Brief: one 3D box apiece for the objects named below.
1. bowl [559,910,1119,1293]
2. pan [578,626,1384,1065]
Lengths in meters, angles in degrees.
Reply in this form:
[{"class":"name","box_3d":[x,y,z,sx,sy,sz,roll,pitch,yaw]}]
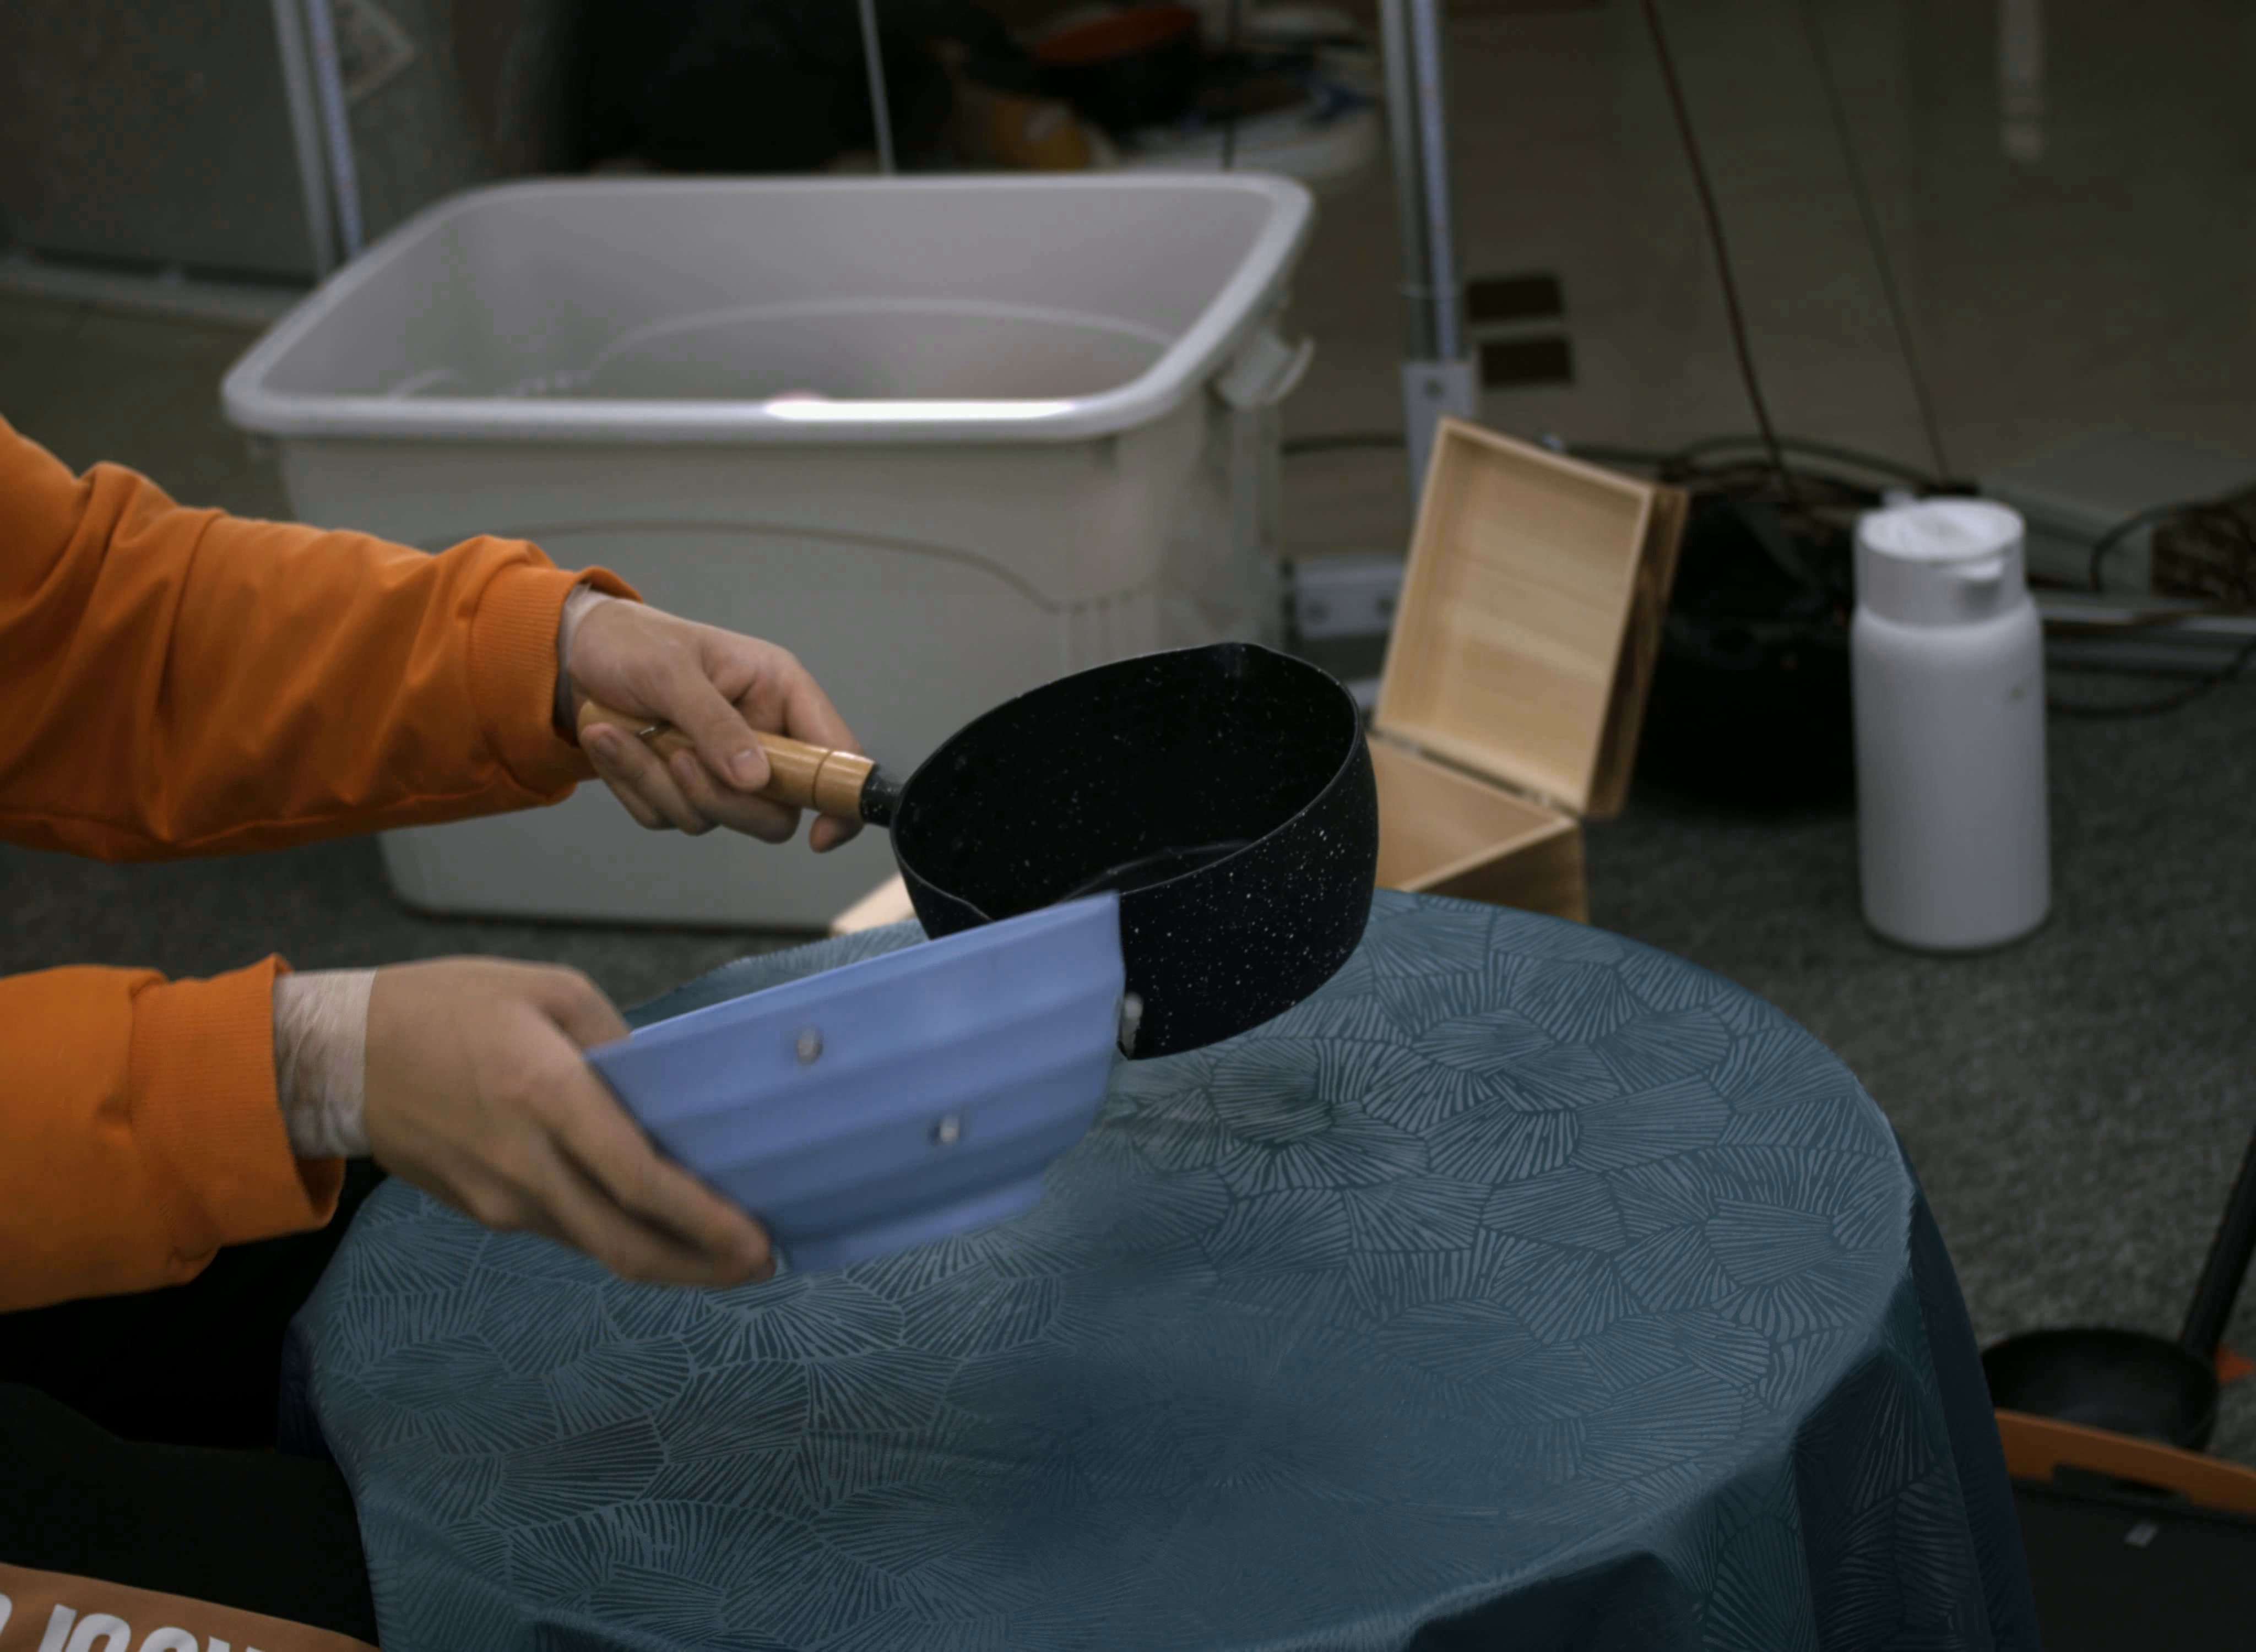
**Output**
[{"class":"bowl","box_3d":[-0.088,0.101,1.935,0.196,0.096,0.196,-15,4,1]},{"class":"pan","box_3d":[-0.061,0.001,2.186,0.342,0.110,0.204,3,36,30]}]
